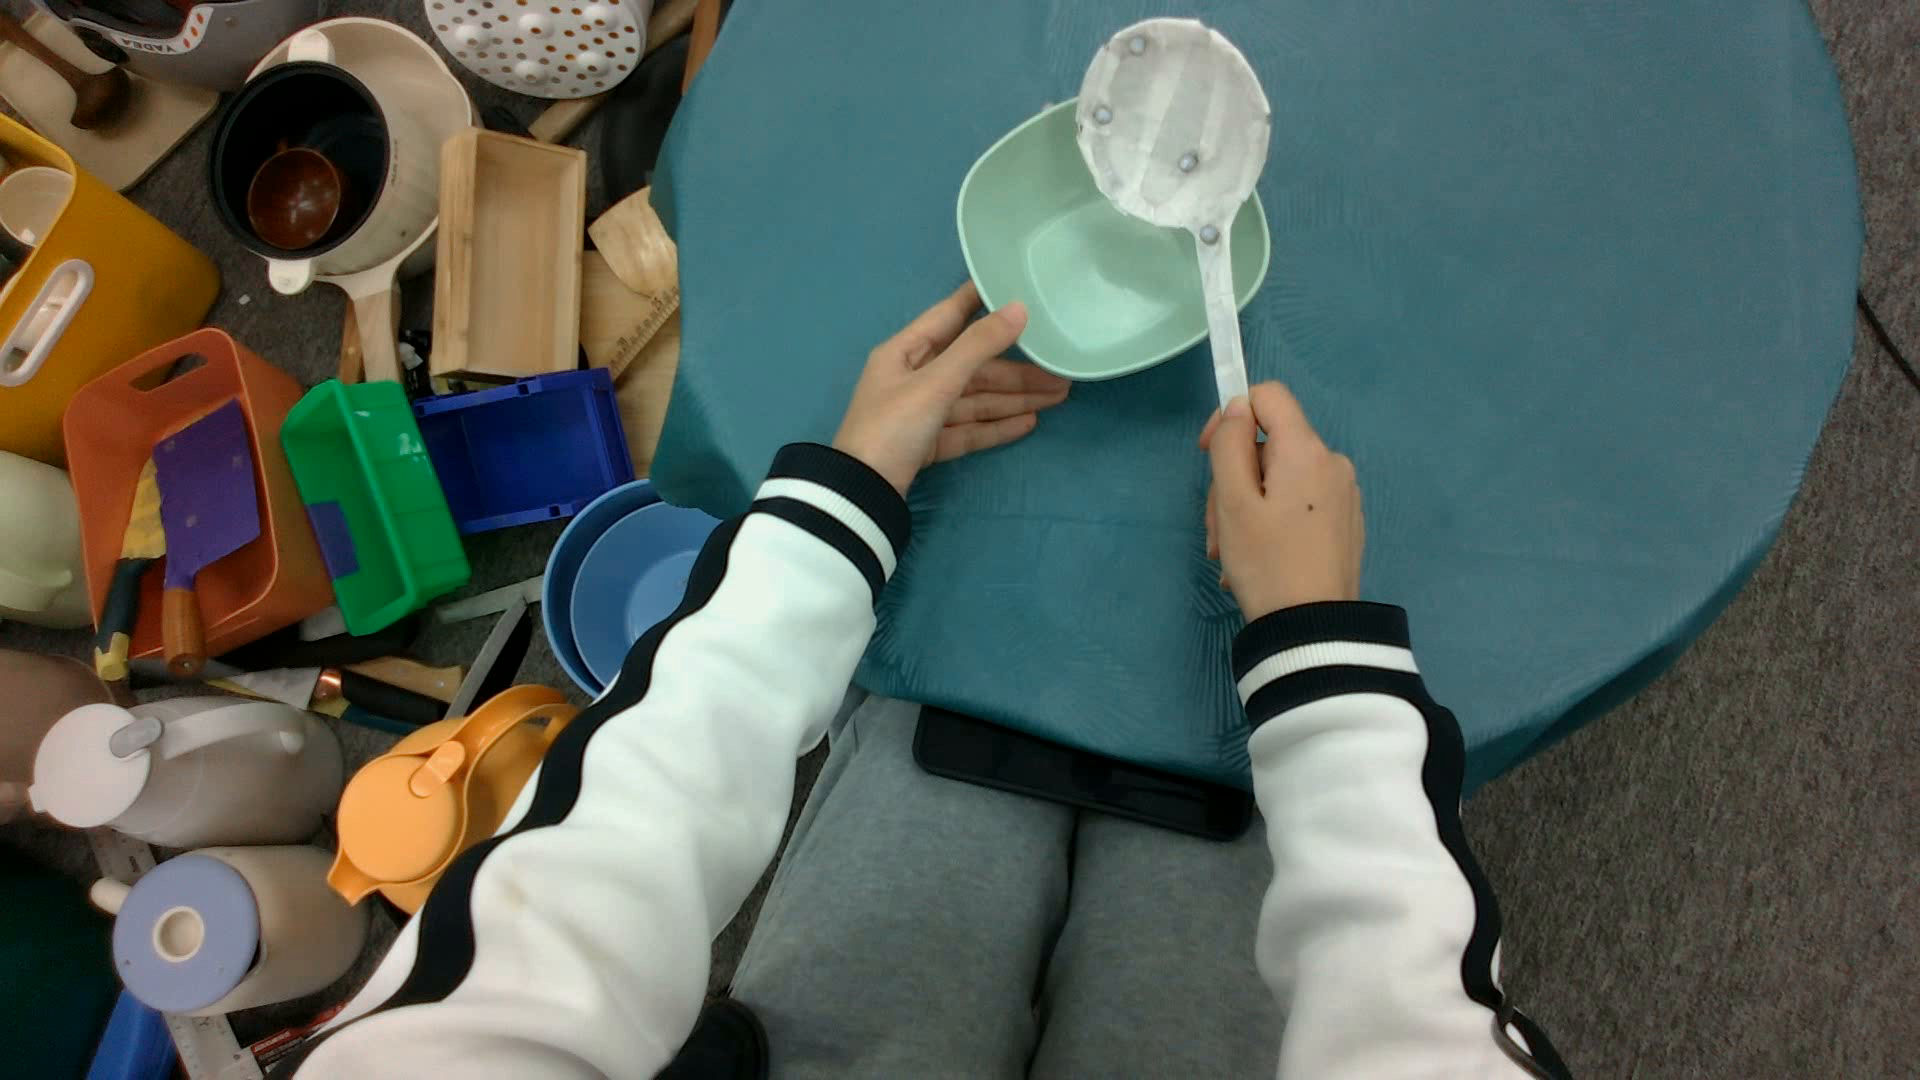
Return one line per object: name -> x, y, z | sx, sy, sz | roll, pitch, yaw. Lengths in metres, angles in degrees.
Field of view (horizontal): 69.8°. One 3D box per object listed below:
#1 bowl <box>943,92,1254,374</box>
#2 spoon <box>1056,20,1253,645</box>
bowl -> 0.067, -0.146, 0.683 | 0.151, 0.058, 0.151 | -1, 78, 5
spoon -> 0.092, -0.090, 0.620 | 0.100, 0.059, 0.277 | -10, 81, 45
